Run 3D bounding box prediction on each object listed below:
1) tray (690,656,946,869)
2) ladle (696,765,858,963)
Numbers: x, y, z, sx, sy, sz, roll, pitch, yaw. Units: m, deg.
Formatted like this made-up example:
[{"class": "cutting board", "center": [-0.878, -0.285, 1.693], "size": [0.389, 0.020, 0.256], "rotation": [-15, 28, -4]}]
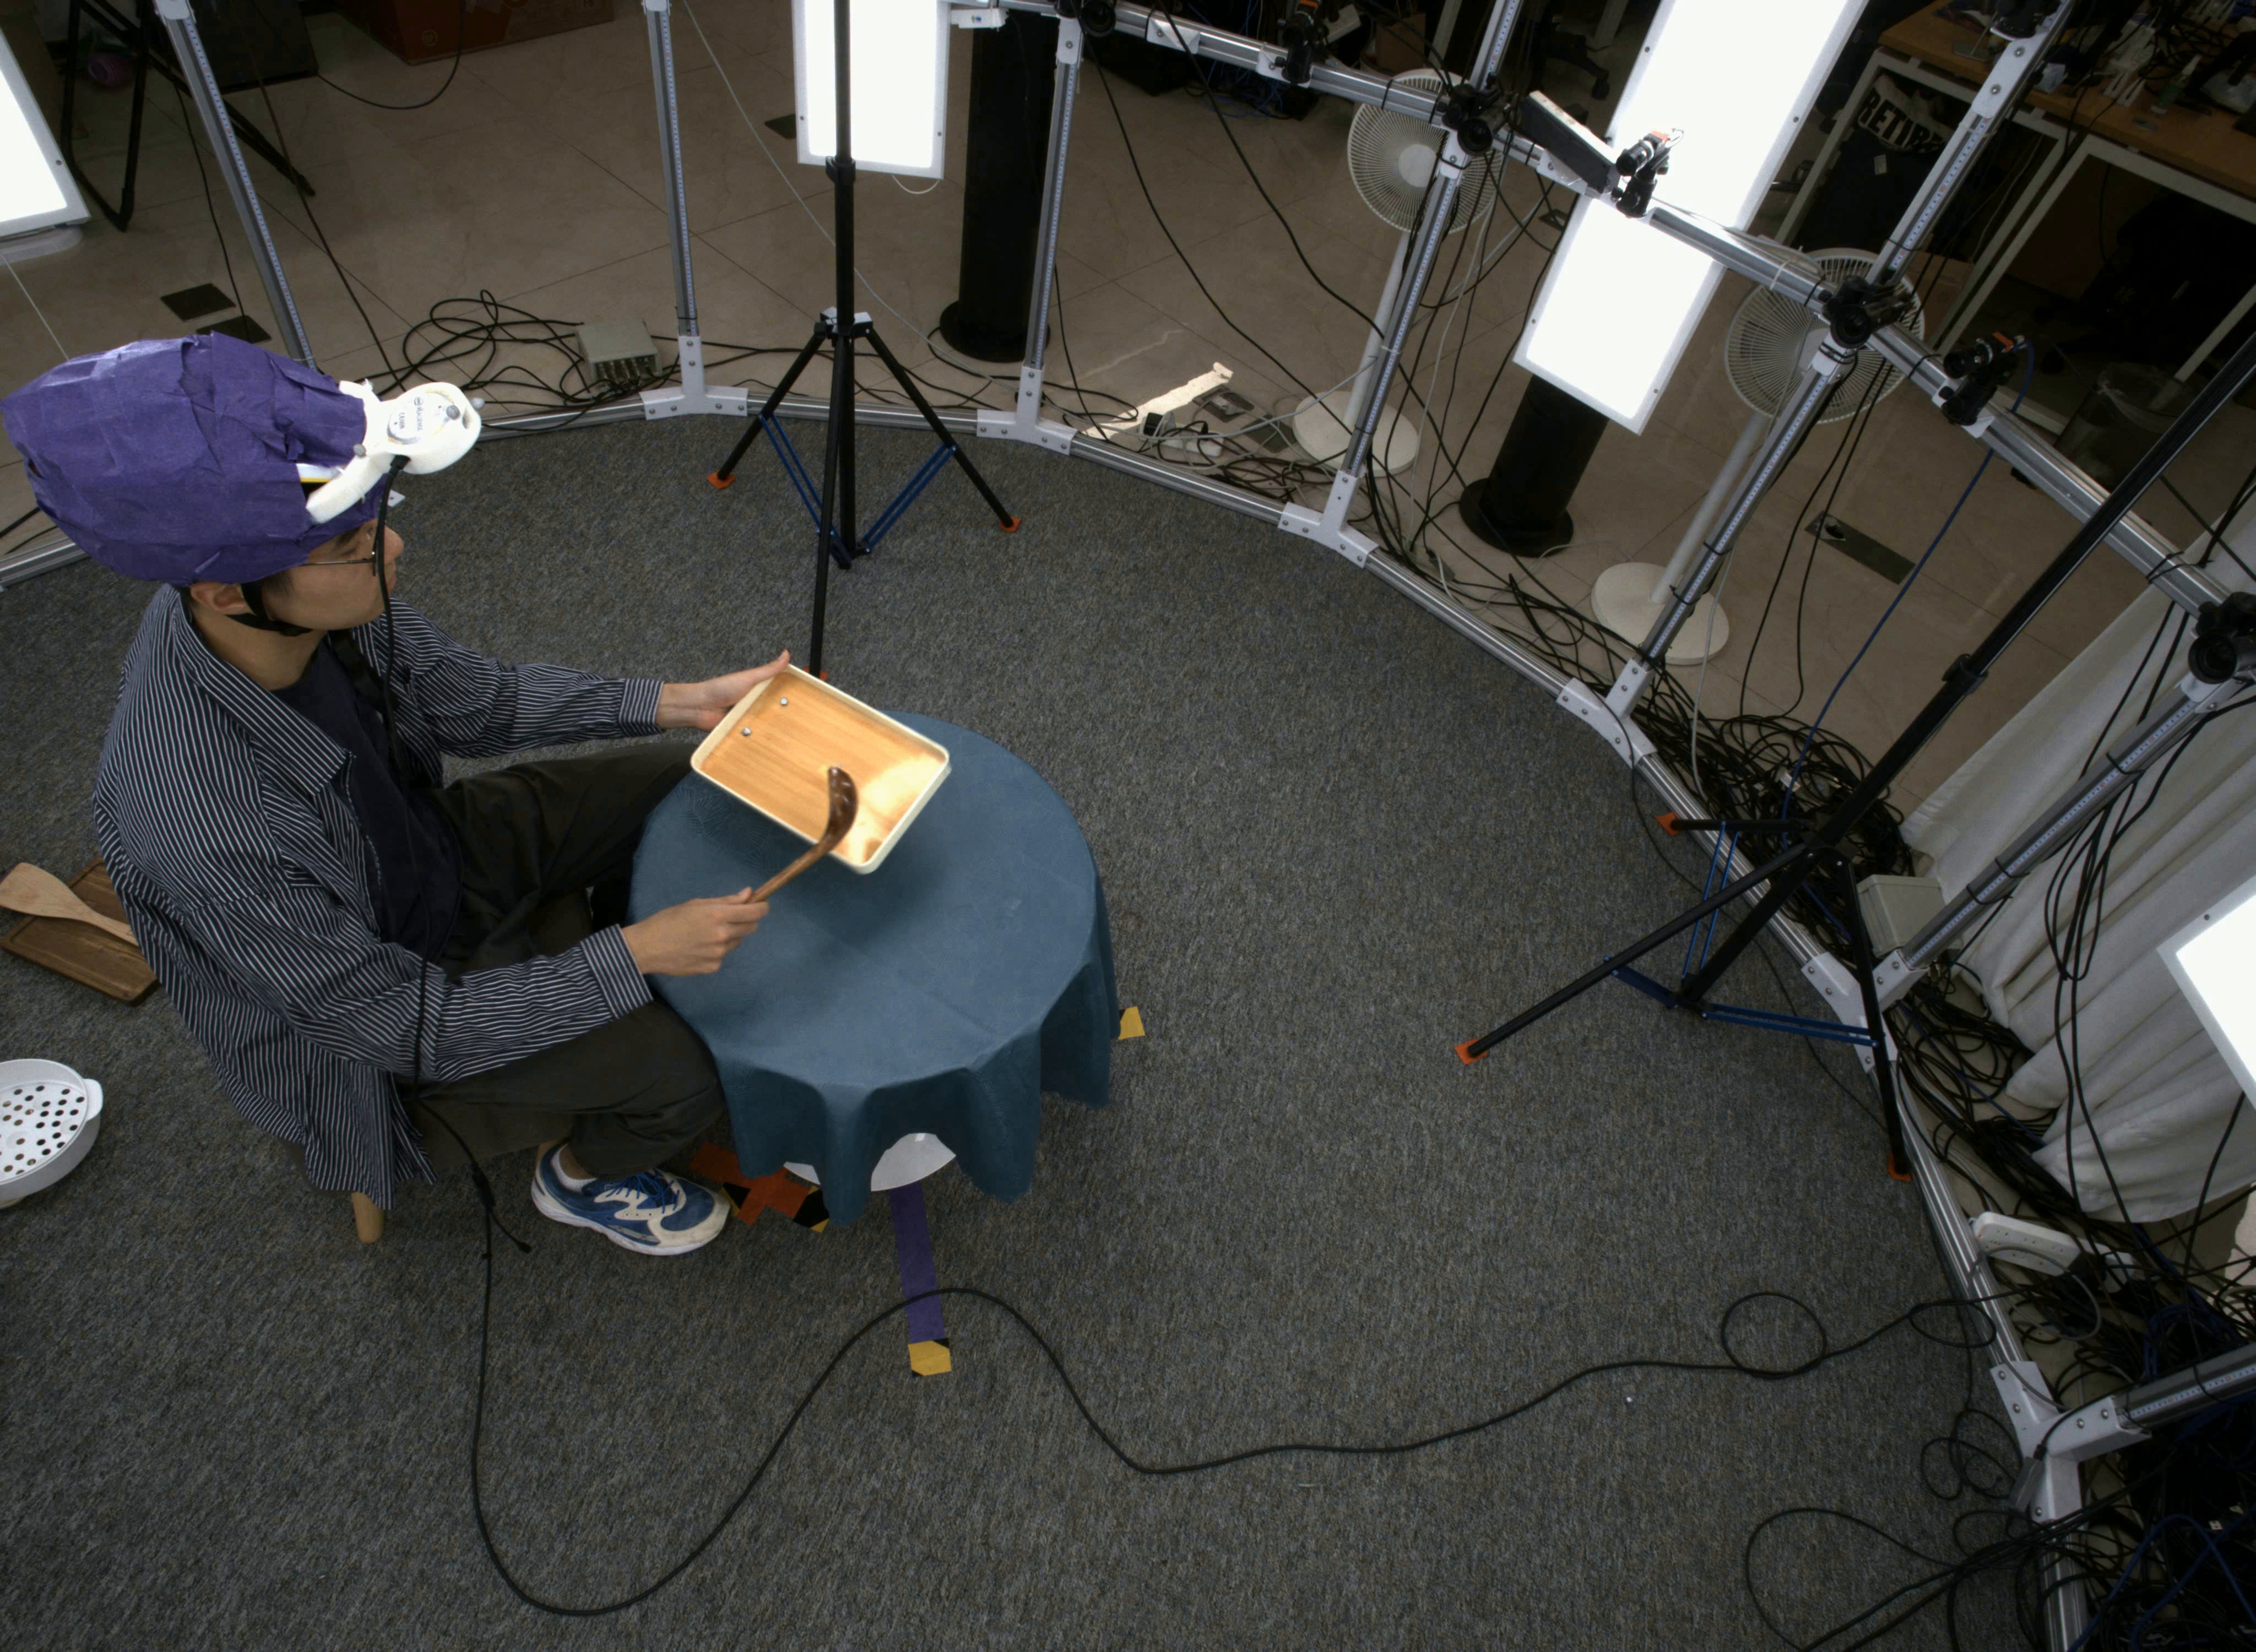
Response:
[{"class": "tray", "center": [-0.401, -0.086, 1.668], "size": [0.293, 0.028, 0.191], "rotation": [29, 71, 16]}, {"class": "ladle", "center": [-0.420, 0.039, 1.516], "size": [0.274, 0.082, 0.076], "rotation": [-41, 86, -6]}]
